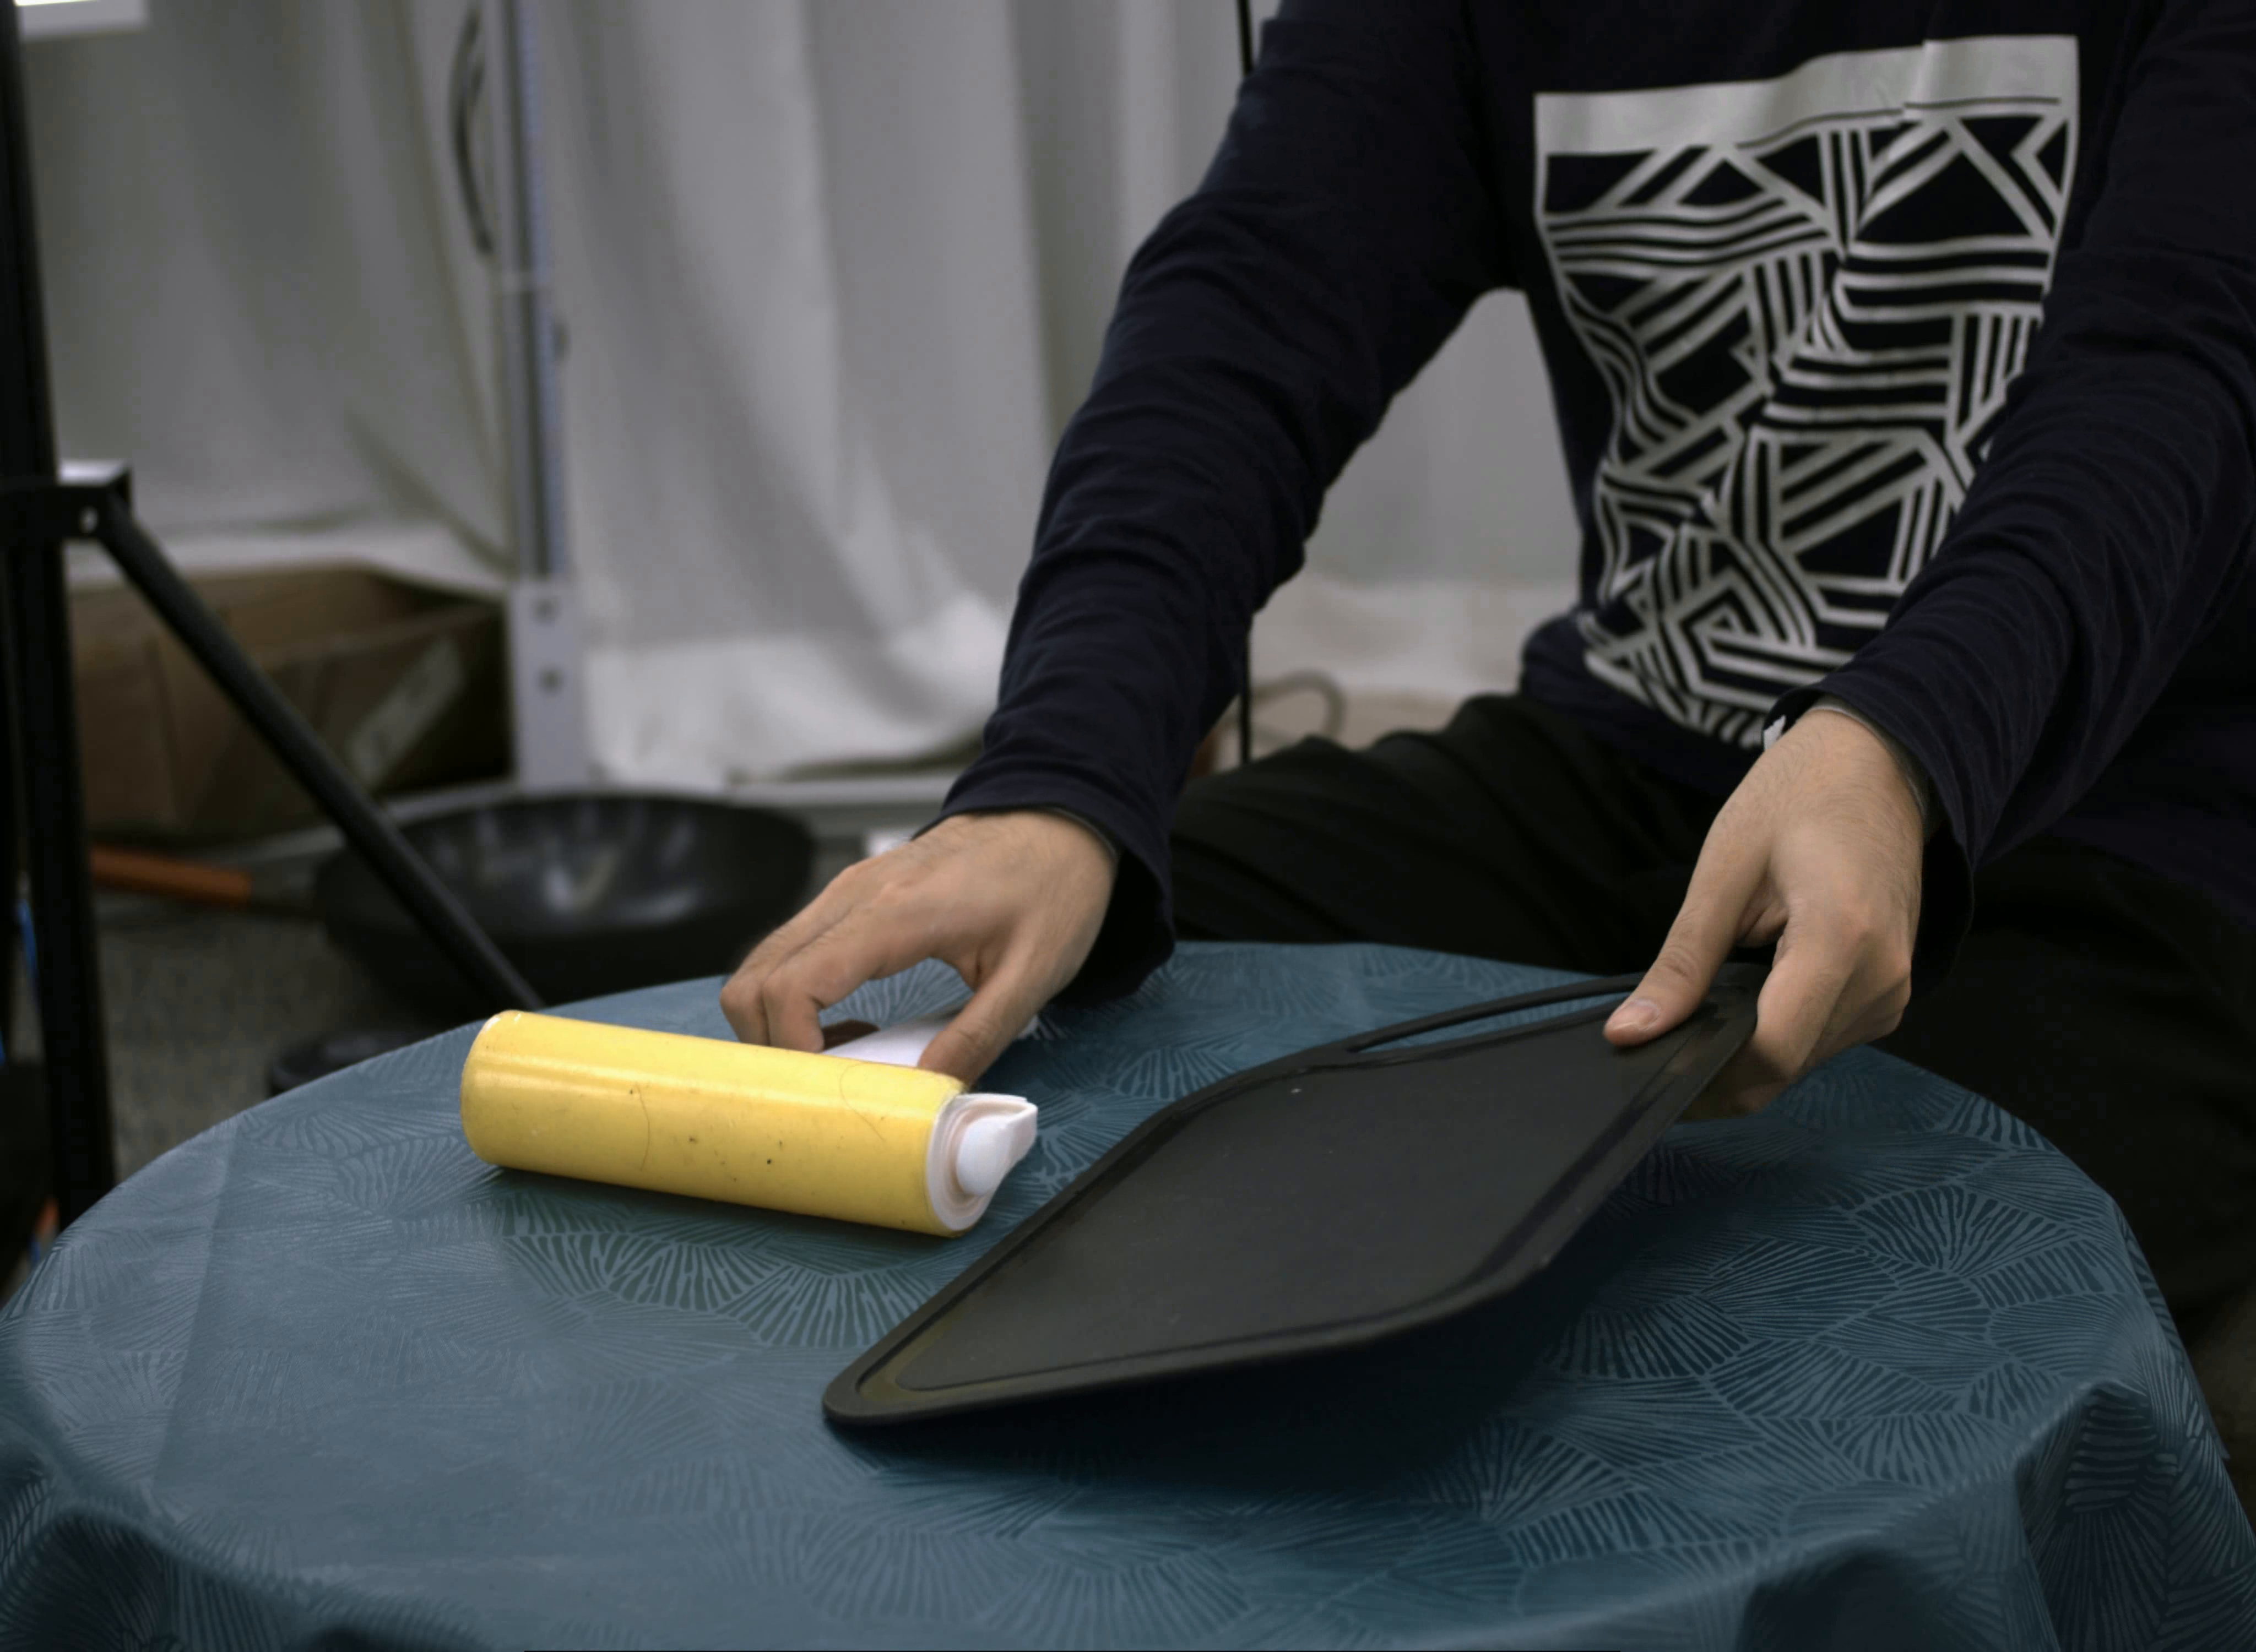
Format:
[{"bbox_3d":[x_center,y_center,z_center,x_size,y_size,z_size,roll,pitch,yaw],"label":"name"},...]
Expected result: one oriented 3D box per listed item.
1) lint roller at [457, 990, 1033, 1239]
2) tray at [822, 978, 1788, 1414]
[{"bbox_3d":[-0.086,0.067,1.629,0.177,0.051,0.189,7,21,27],"label":"lint roller"},{"bbox_3d":[0.058,0.097,1.480,0.214,0.010,0.321,-11,11,27],"label":"tray"}]
